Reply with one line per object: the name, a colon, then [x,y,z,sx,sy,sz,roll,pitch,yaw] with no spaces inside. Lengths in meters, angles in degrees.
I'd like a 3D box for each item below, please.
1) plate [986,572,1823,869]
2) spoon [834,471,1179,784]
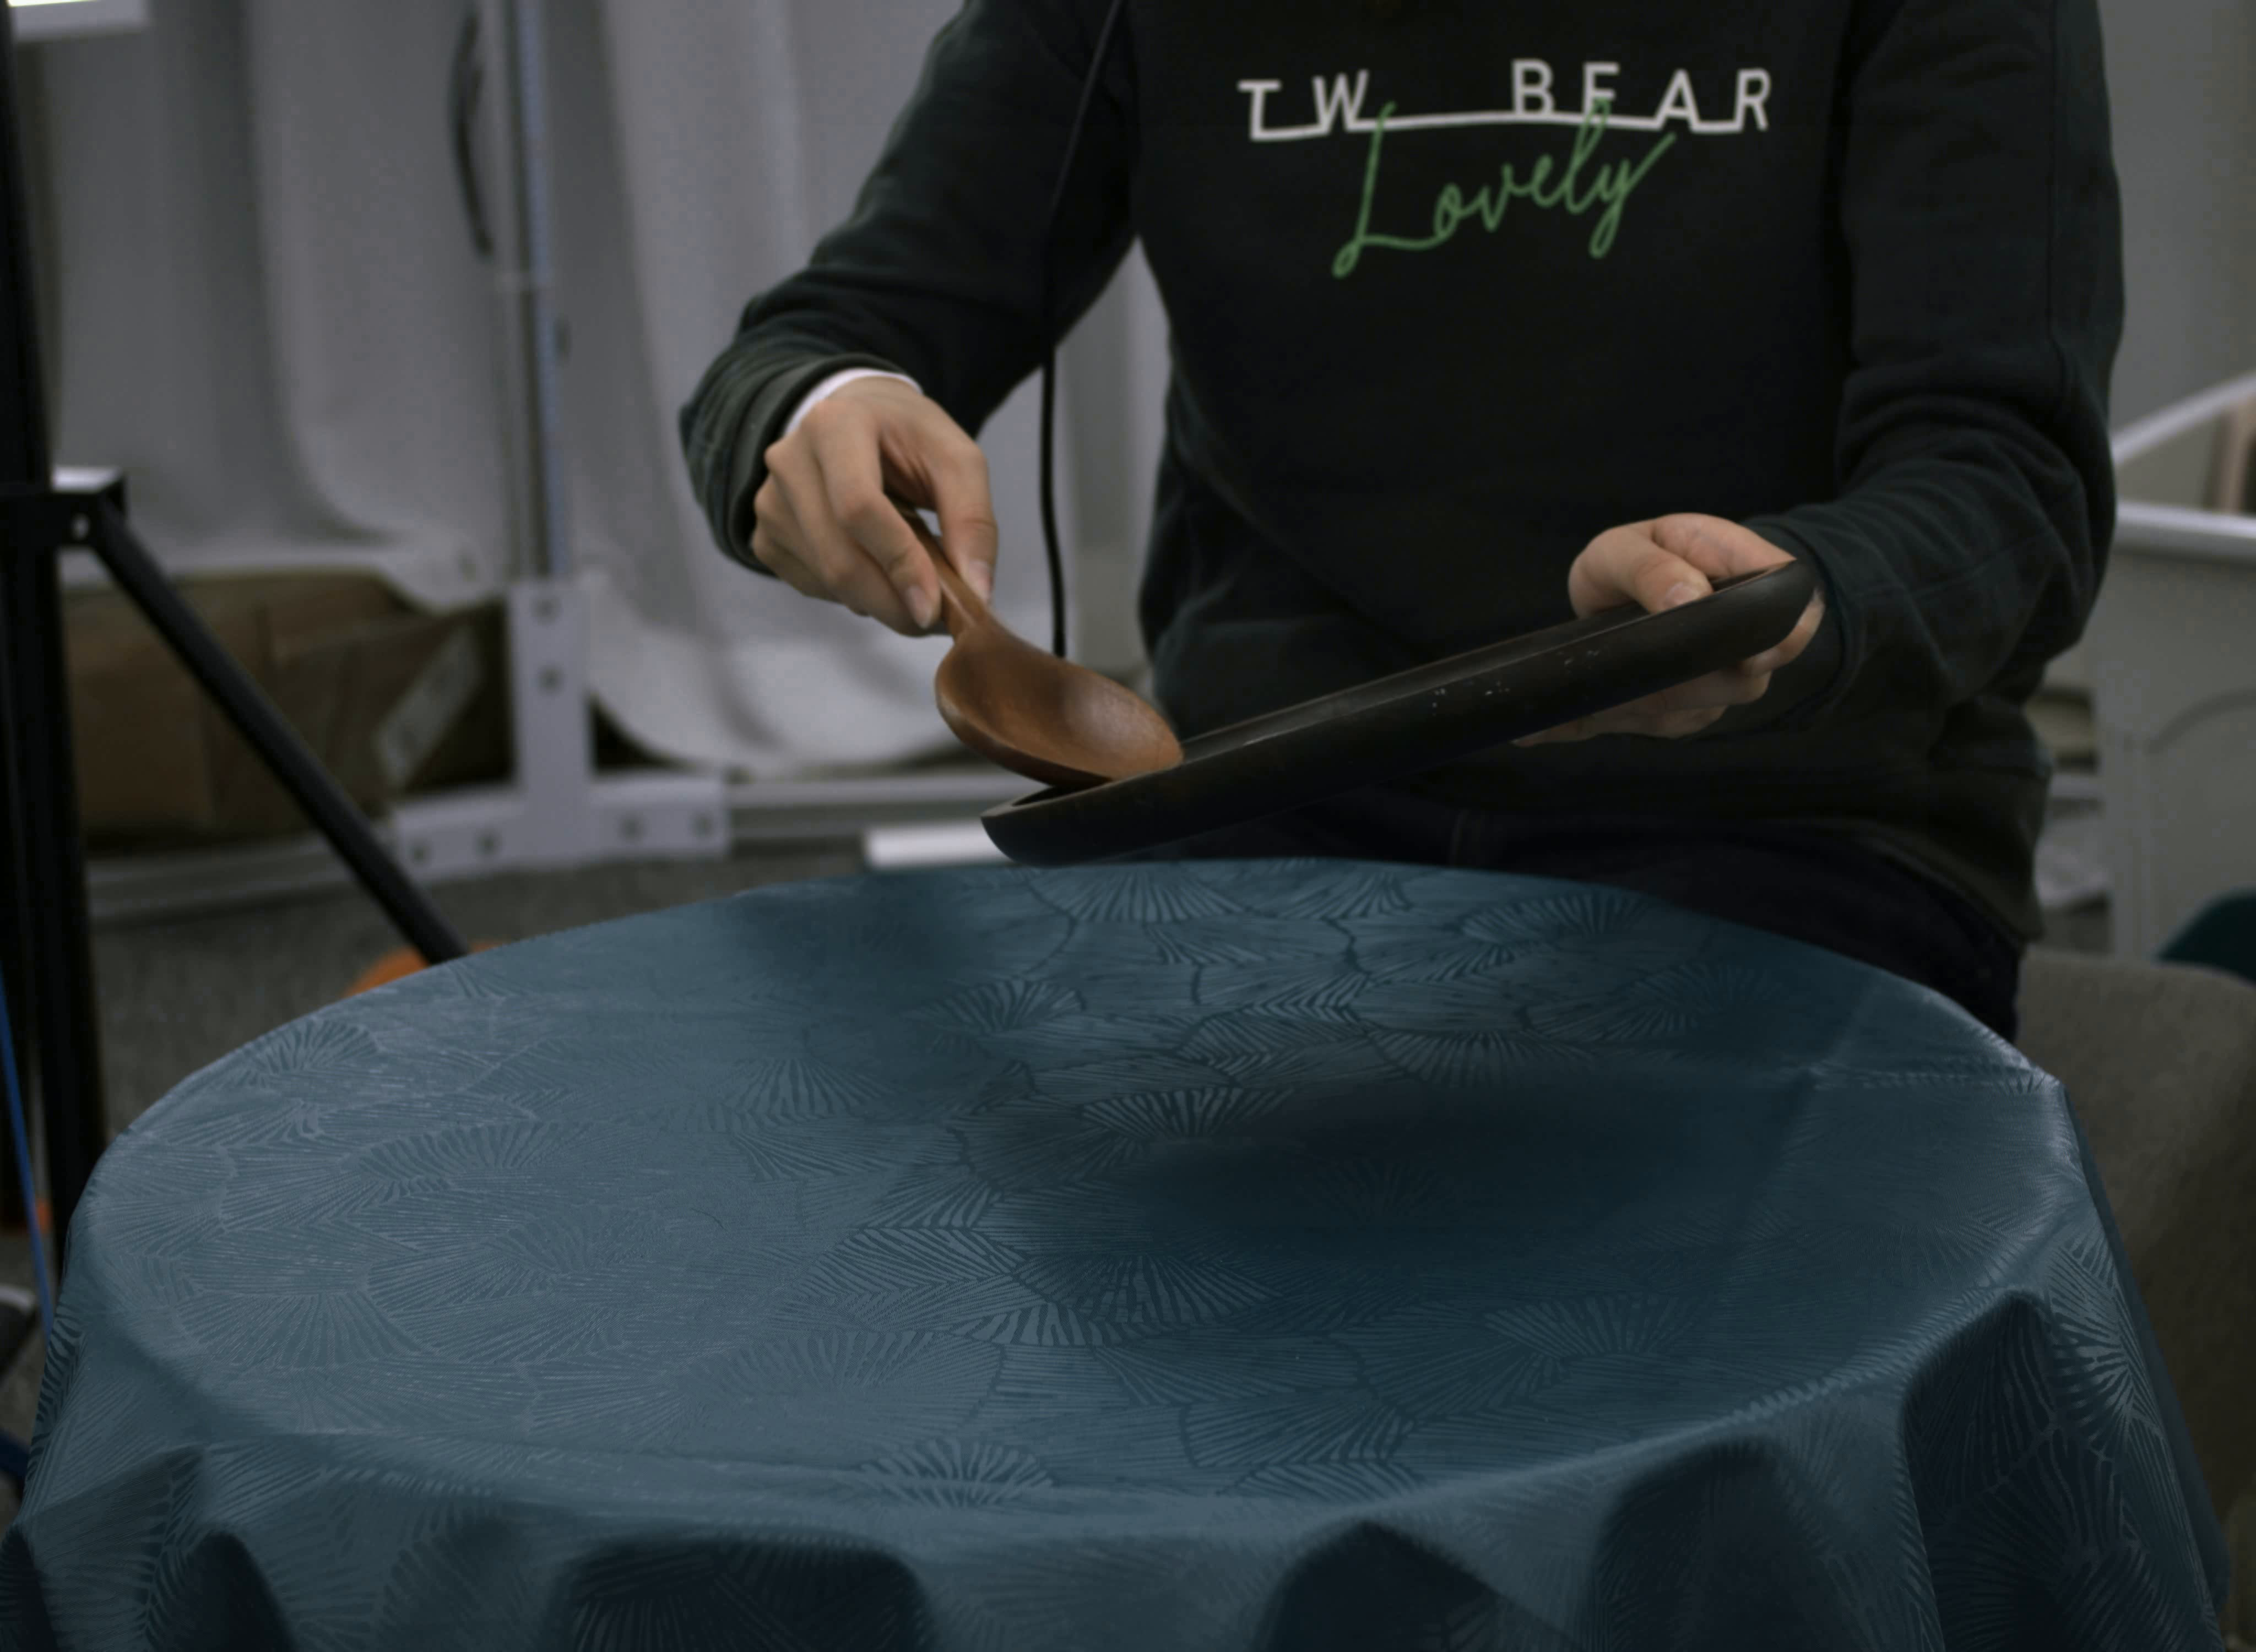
plate: [0.082,-0.031,1.555,0.253,0.029,0.255,-17,3,-1]
spoon: [-0.048,-0.061,1.675,0.074,0.017,0.220,2,26,-25]
